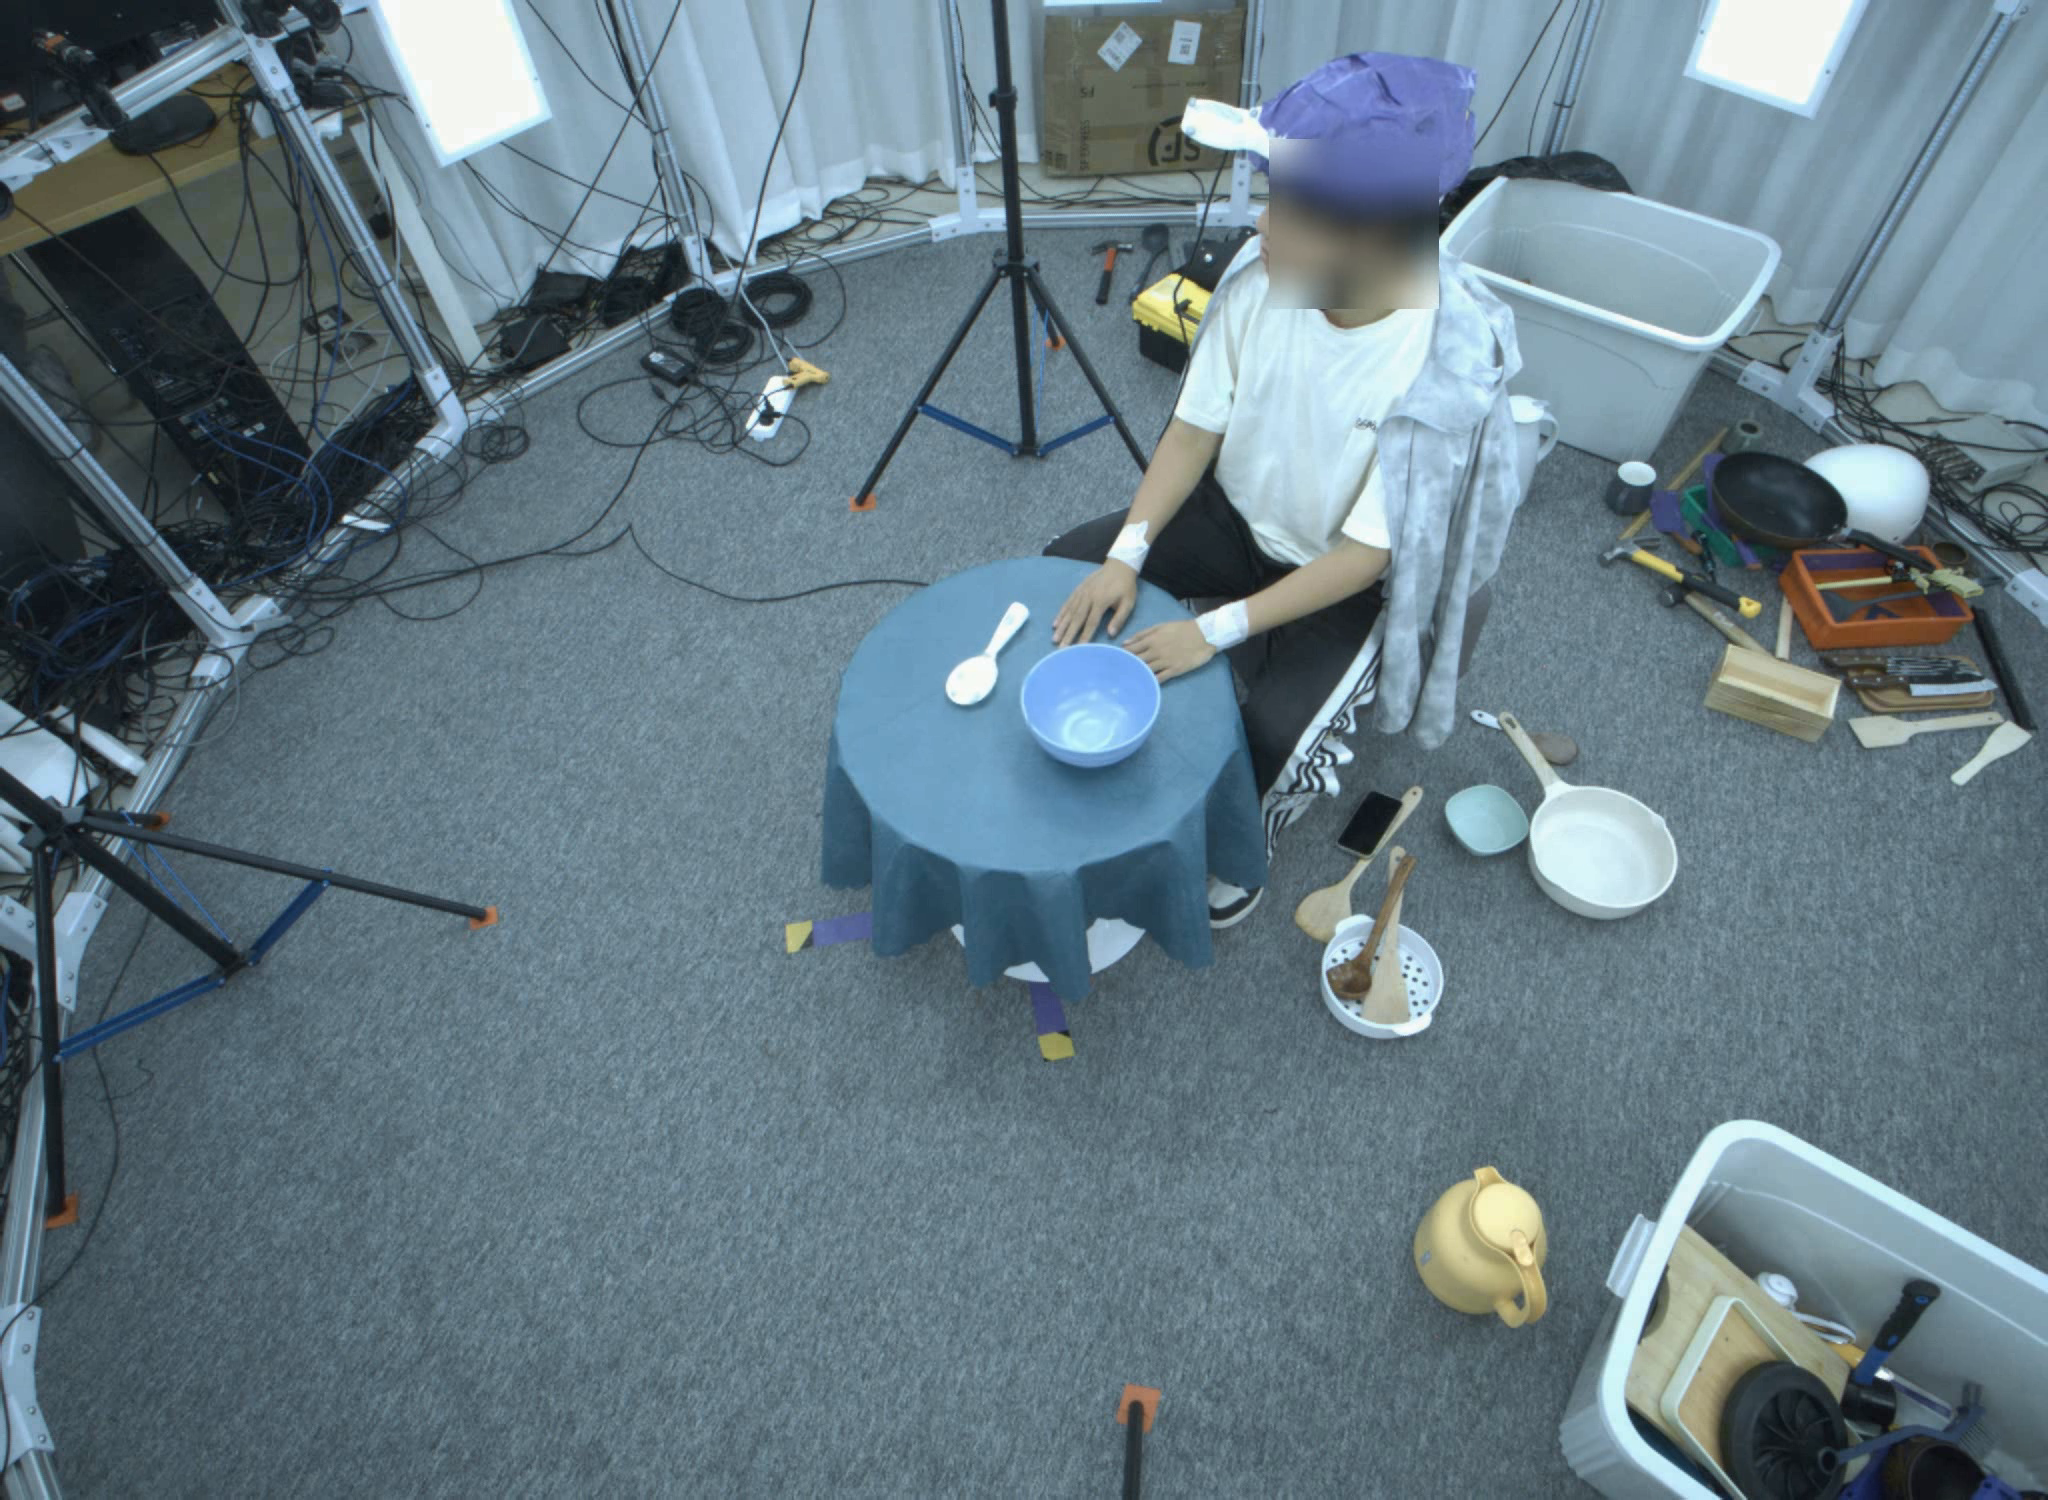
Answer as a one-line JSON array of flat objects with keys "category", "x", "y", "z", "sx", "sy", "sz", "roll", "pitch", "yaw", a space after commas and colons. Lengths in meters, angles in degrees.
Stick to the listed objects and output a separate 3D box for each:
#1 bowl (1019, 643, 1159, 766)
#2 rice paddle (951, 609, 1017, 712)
[{"category": "bowl", "x": 0.095, "y": -0.050, "z": 1.762, "sx": 0.196, "sy": 0.096, "sz": 0.194, "roll": -2, "pitch": 55, "yaw": 4}, {"category": "rice paddle", "x": -0.056, "y": -0.136, "z": 1.875, "sx": 0.069, "sy": 0.029, "sz": 0.205, "roll": 21, "pitch": 54, "yaw": 1}]
